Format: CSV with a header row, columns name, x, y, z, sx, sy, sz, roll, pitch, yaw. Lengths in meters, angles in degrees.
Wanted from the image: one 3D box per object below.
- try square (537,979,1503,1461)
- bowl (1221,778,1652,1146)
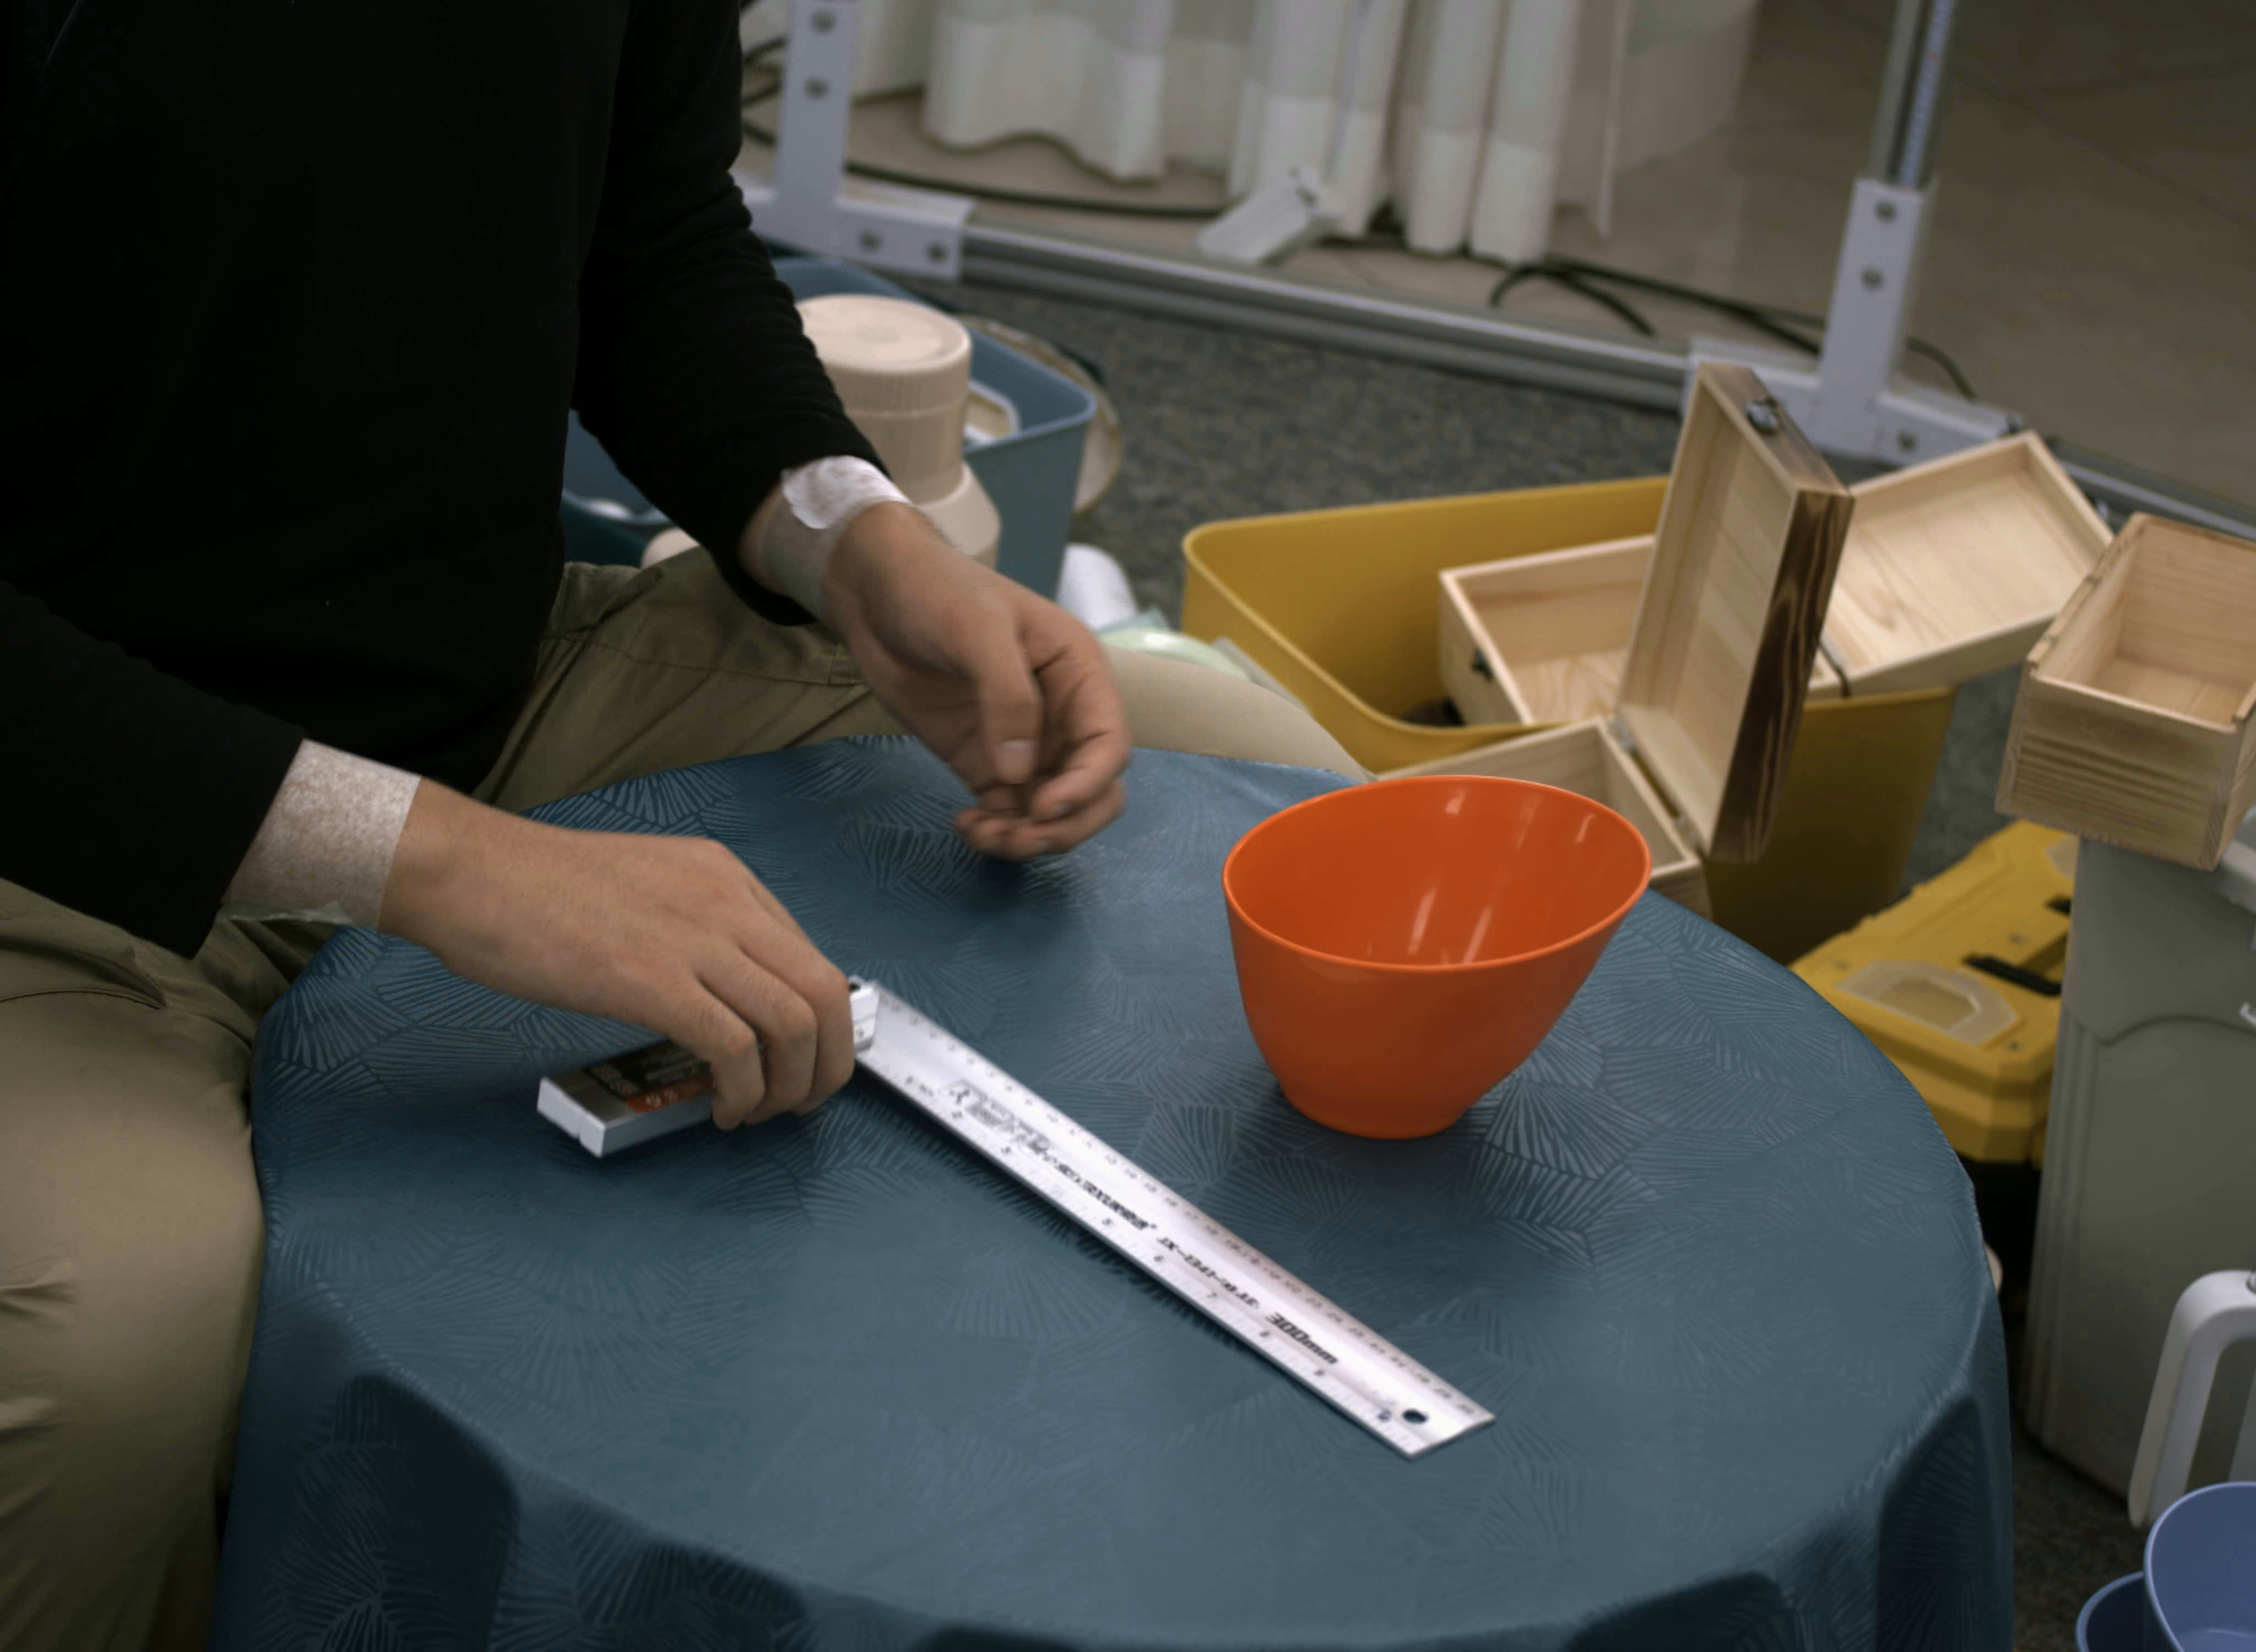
name,x,y,z,sx,sy,sz,roll,pitch,yaw
try square,-0.040,0.143,1.746,0.151,0.016,0.315,-22,41,-38
bowl,0.102,0.052,1.855,0.147,0.104,0.149,4,28,-3
